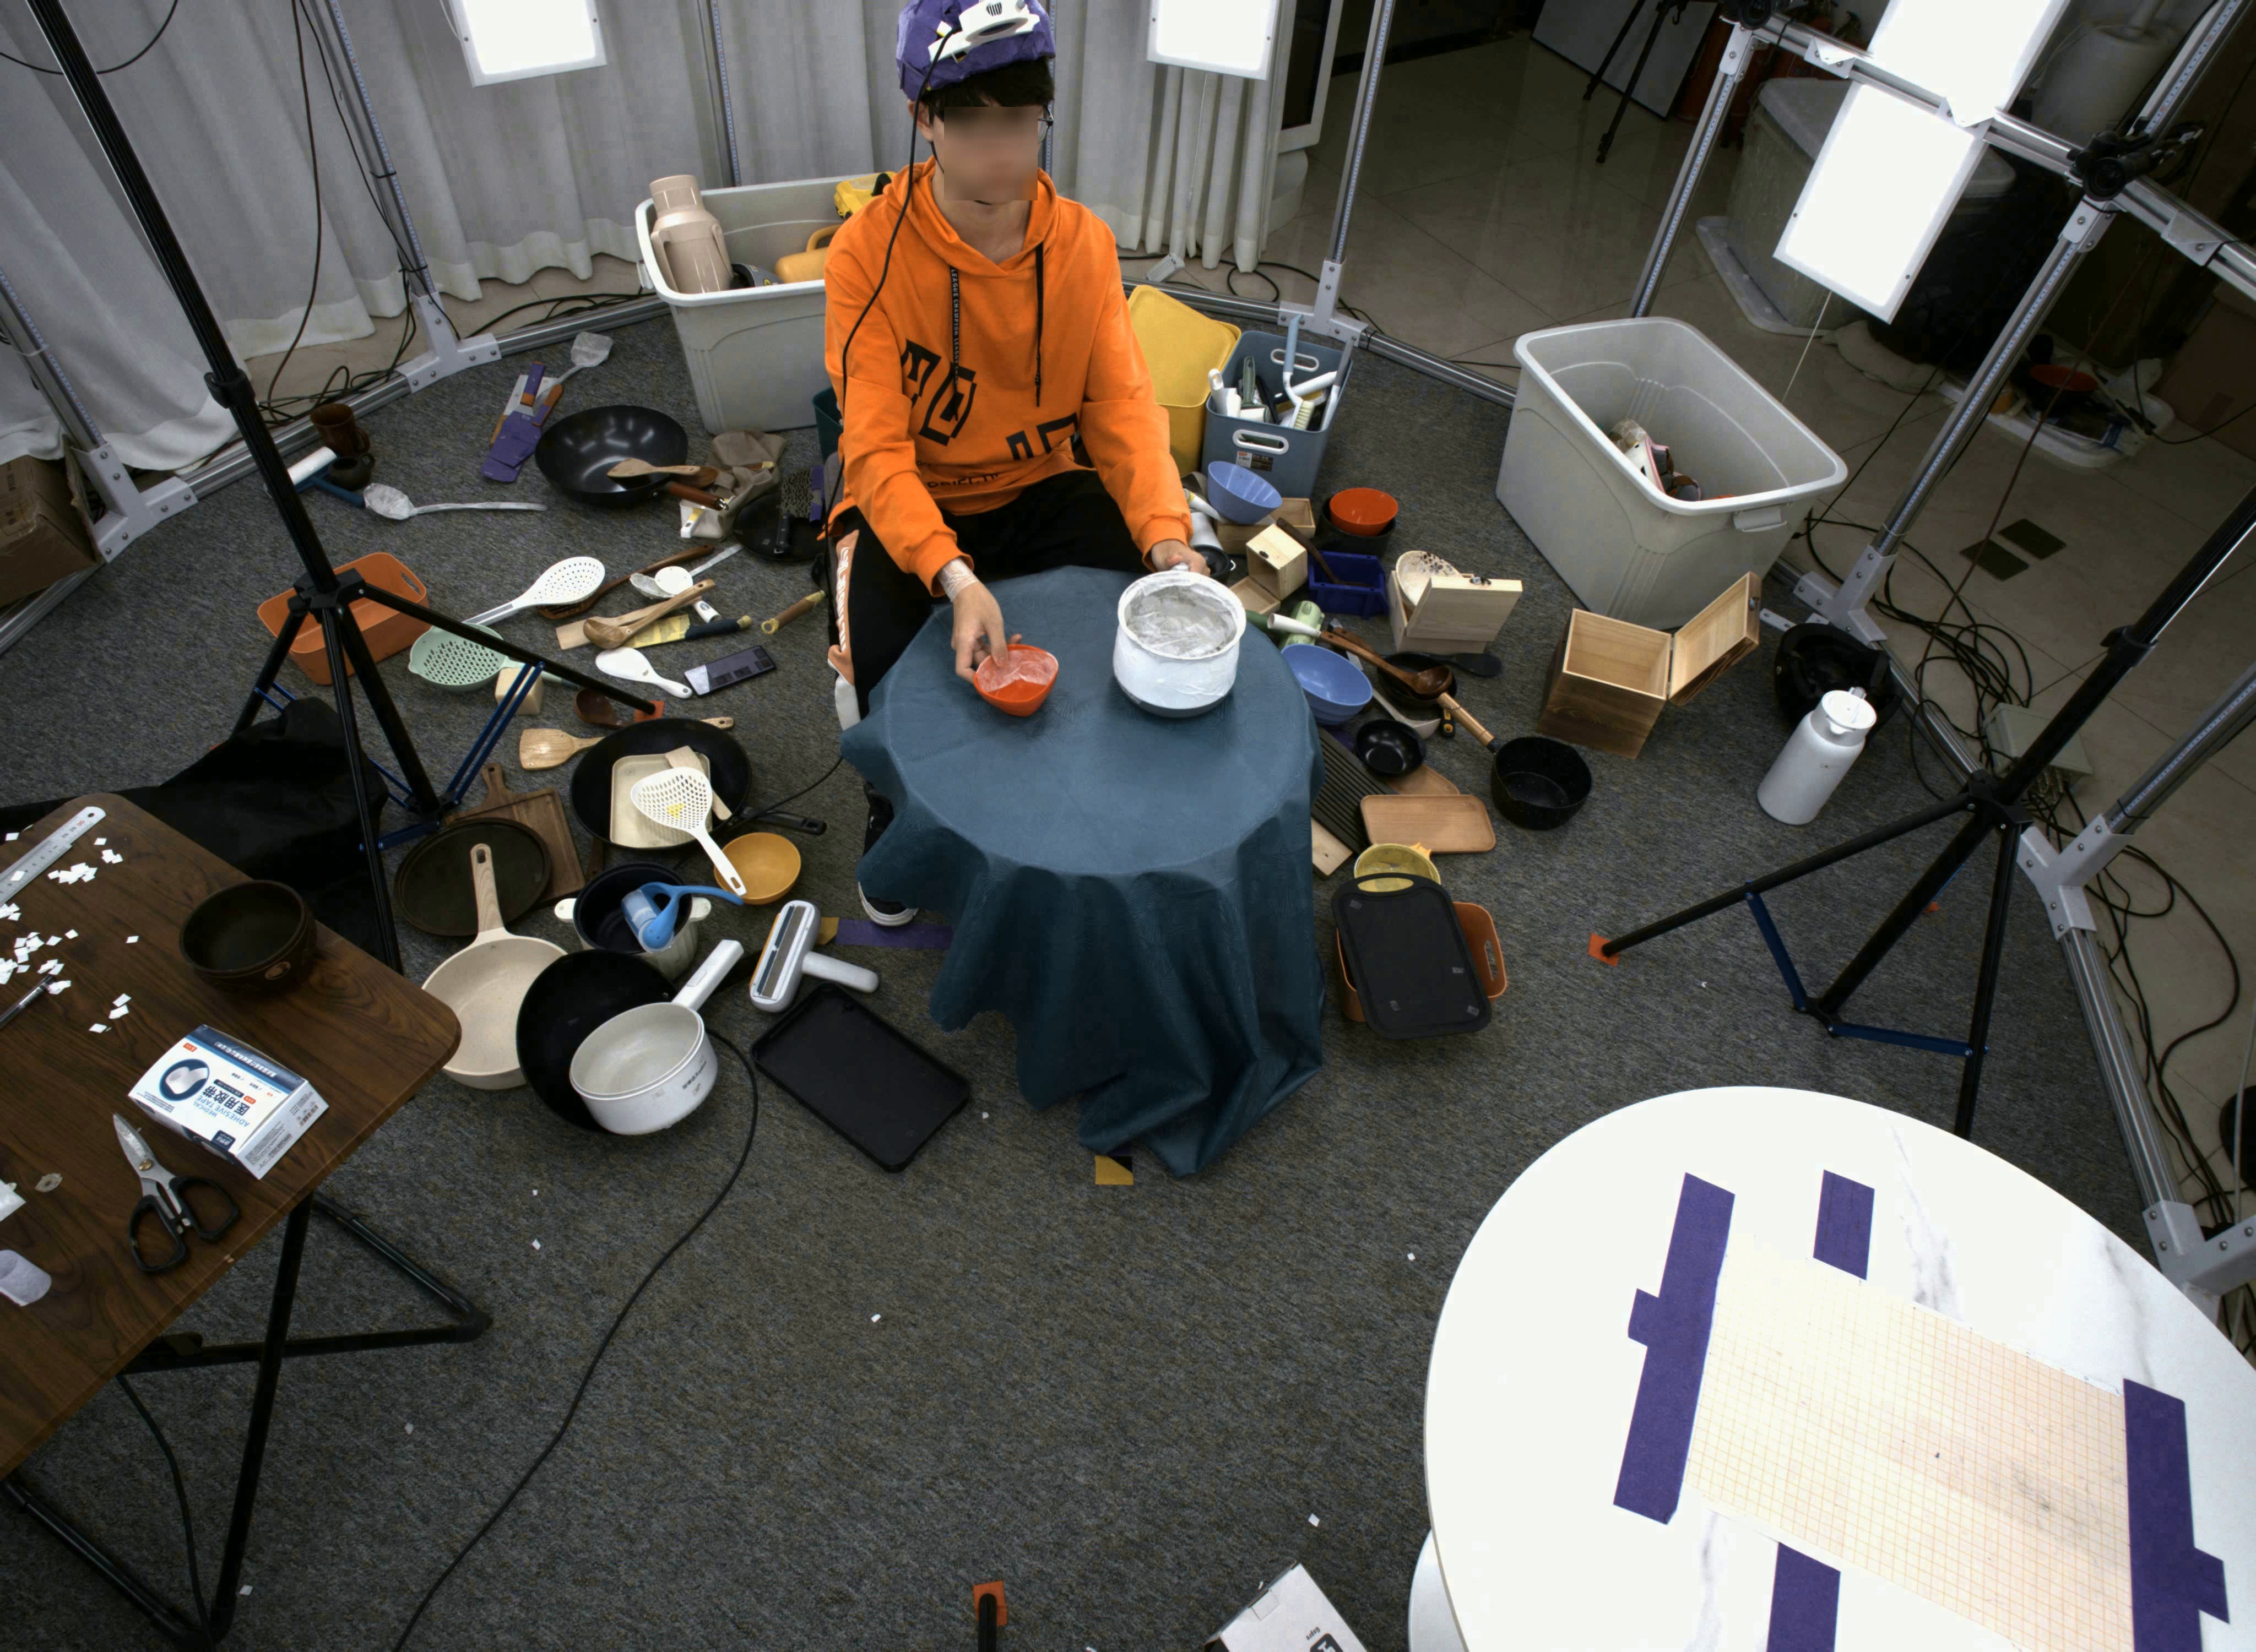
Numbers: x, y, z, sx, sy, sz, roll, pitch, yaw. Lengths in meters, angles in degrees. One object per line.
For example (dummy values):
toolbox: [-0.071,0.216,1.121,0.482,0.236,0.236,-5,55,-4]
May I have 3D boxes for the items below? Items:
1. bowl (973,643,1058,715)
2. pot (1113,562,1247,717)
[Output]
bowl: [-0.153,-0.198,1.792,0.119,0.050,0.122,-4,50,4]
pot: [0.069,-0.273,1.819,0.178,0.133,0.239,3,50,-4]
